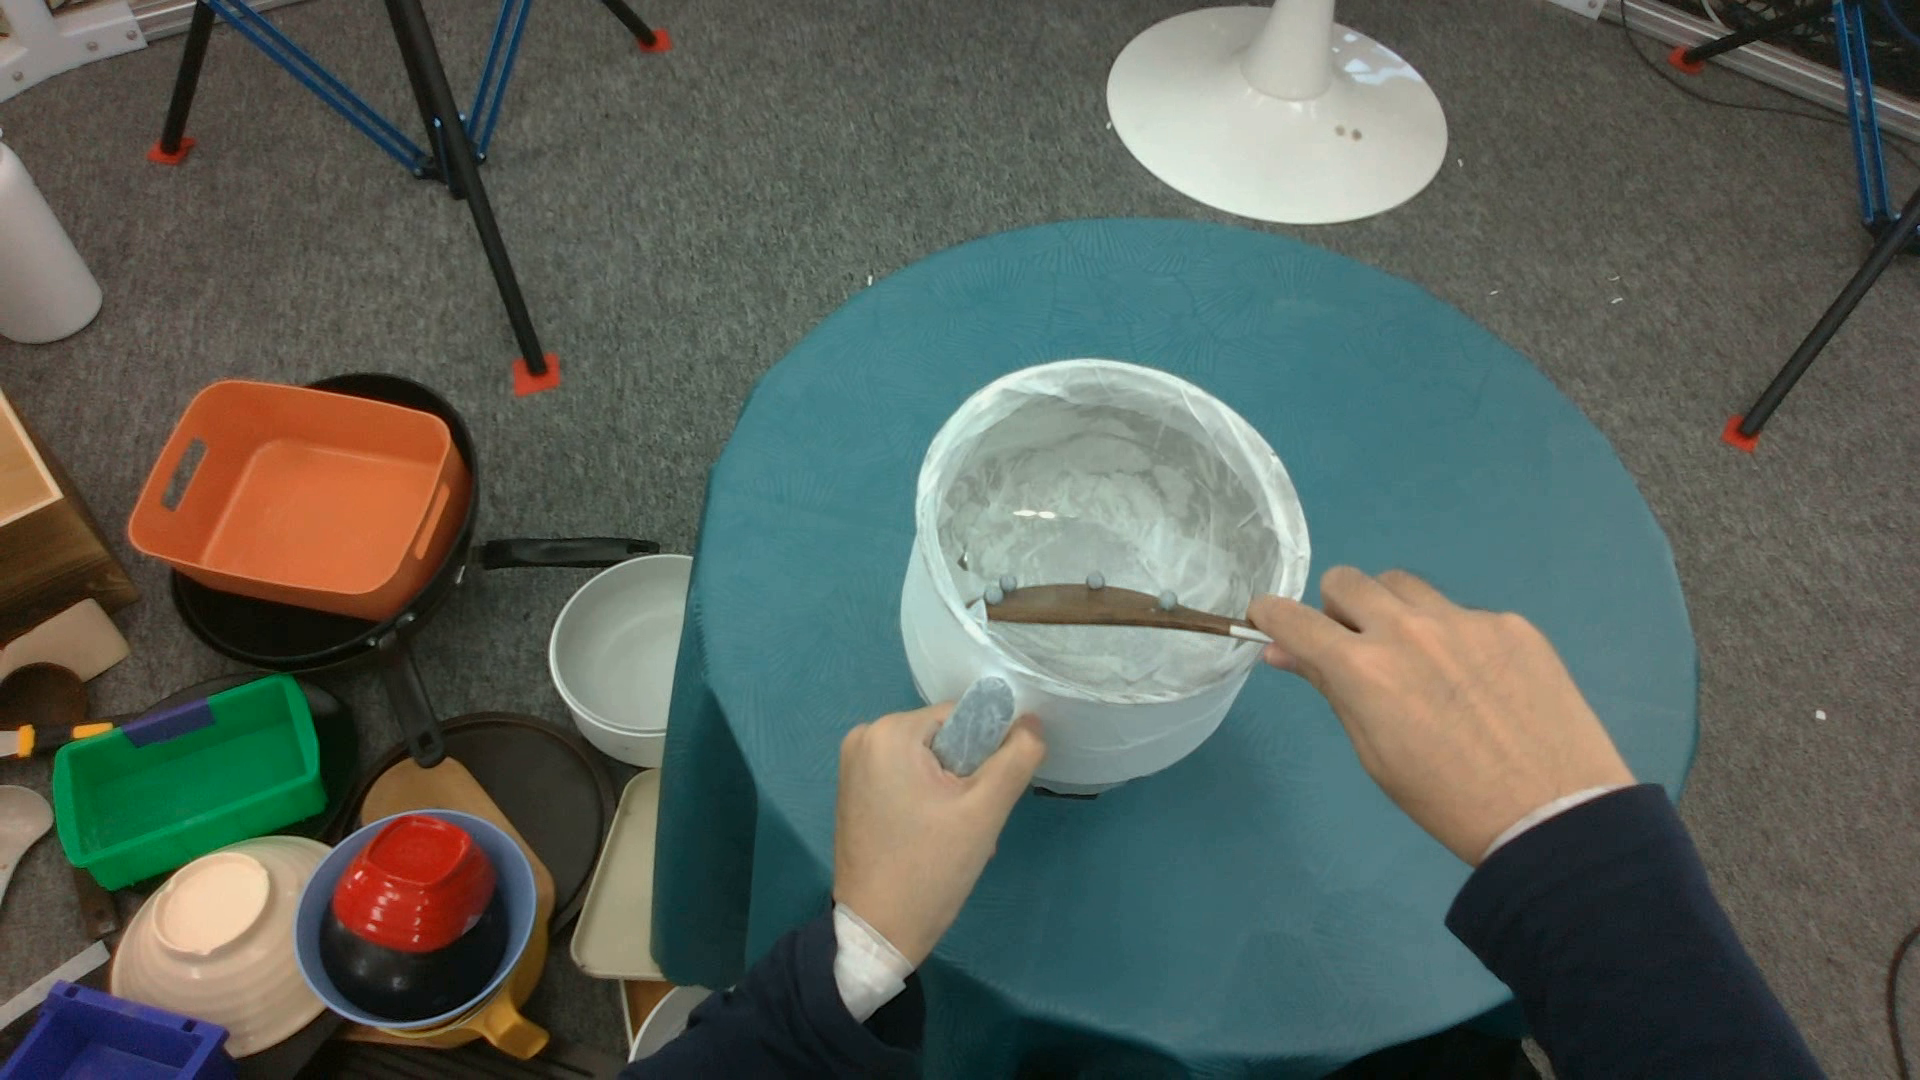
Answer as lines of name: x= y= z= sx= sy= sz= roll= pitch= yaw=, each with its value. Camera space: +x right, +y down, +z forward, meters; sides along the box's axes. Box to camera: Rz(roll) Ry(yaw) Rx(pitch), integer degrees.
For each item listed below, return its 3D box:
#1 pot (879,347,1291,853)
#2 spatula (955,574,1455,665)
pot: x=0.040 y=0.036 z=0.651 sx=0.179 sy=0.136 sz=0.235 roll=29 pitch=60 yaw=11
spatula: x=0.093 y=0.033 z=0.572 sx=0.215 sy=0.009 sz=0.072 roll=8 pitch=14 yaw=29
